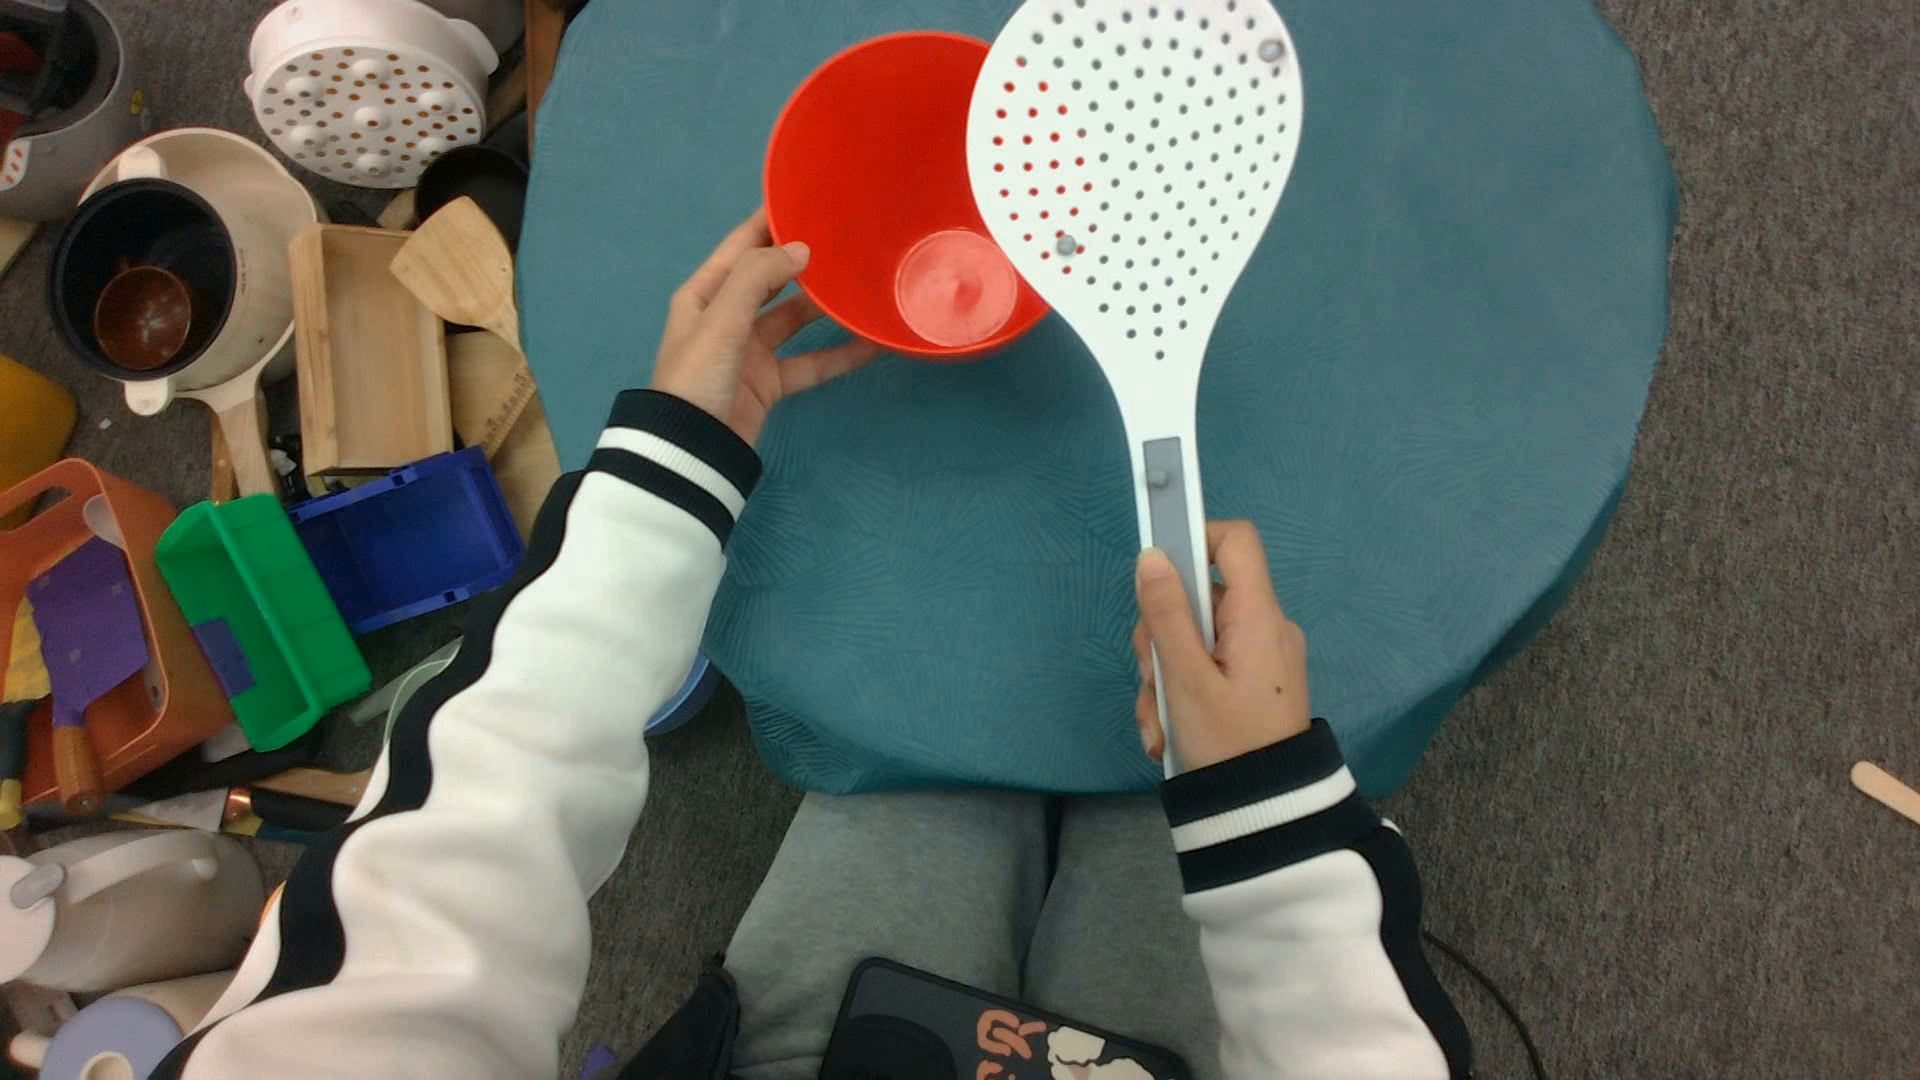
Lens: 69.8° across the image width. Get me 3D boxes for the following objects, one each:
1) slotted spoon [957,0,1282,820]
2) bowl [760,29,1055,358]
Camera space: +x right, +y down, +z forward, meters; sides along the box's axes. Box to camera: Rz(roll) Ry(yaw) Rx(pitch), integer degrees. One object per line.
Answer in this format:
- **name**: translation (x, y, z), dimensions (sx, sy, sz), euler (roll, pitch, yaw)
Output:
- **slotted spoon**: translation (0.077, -0.061, 0.560), dimensions (0.136, 0.046, 0.350), euler (-7, 86, 23)
- **bowl**: translation (-0.015, -0.150, 0.656), dimensions (0.148, 0.104, 0.148), euler (0, 75, 0)
